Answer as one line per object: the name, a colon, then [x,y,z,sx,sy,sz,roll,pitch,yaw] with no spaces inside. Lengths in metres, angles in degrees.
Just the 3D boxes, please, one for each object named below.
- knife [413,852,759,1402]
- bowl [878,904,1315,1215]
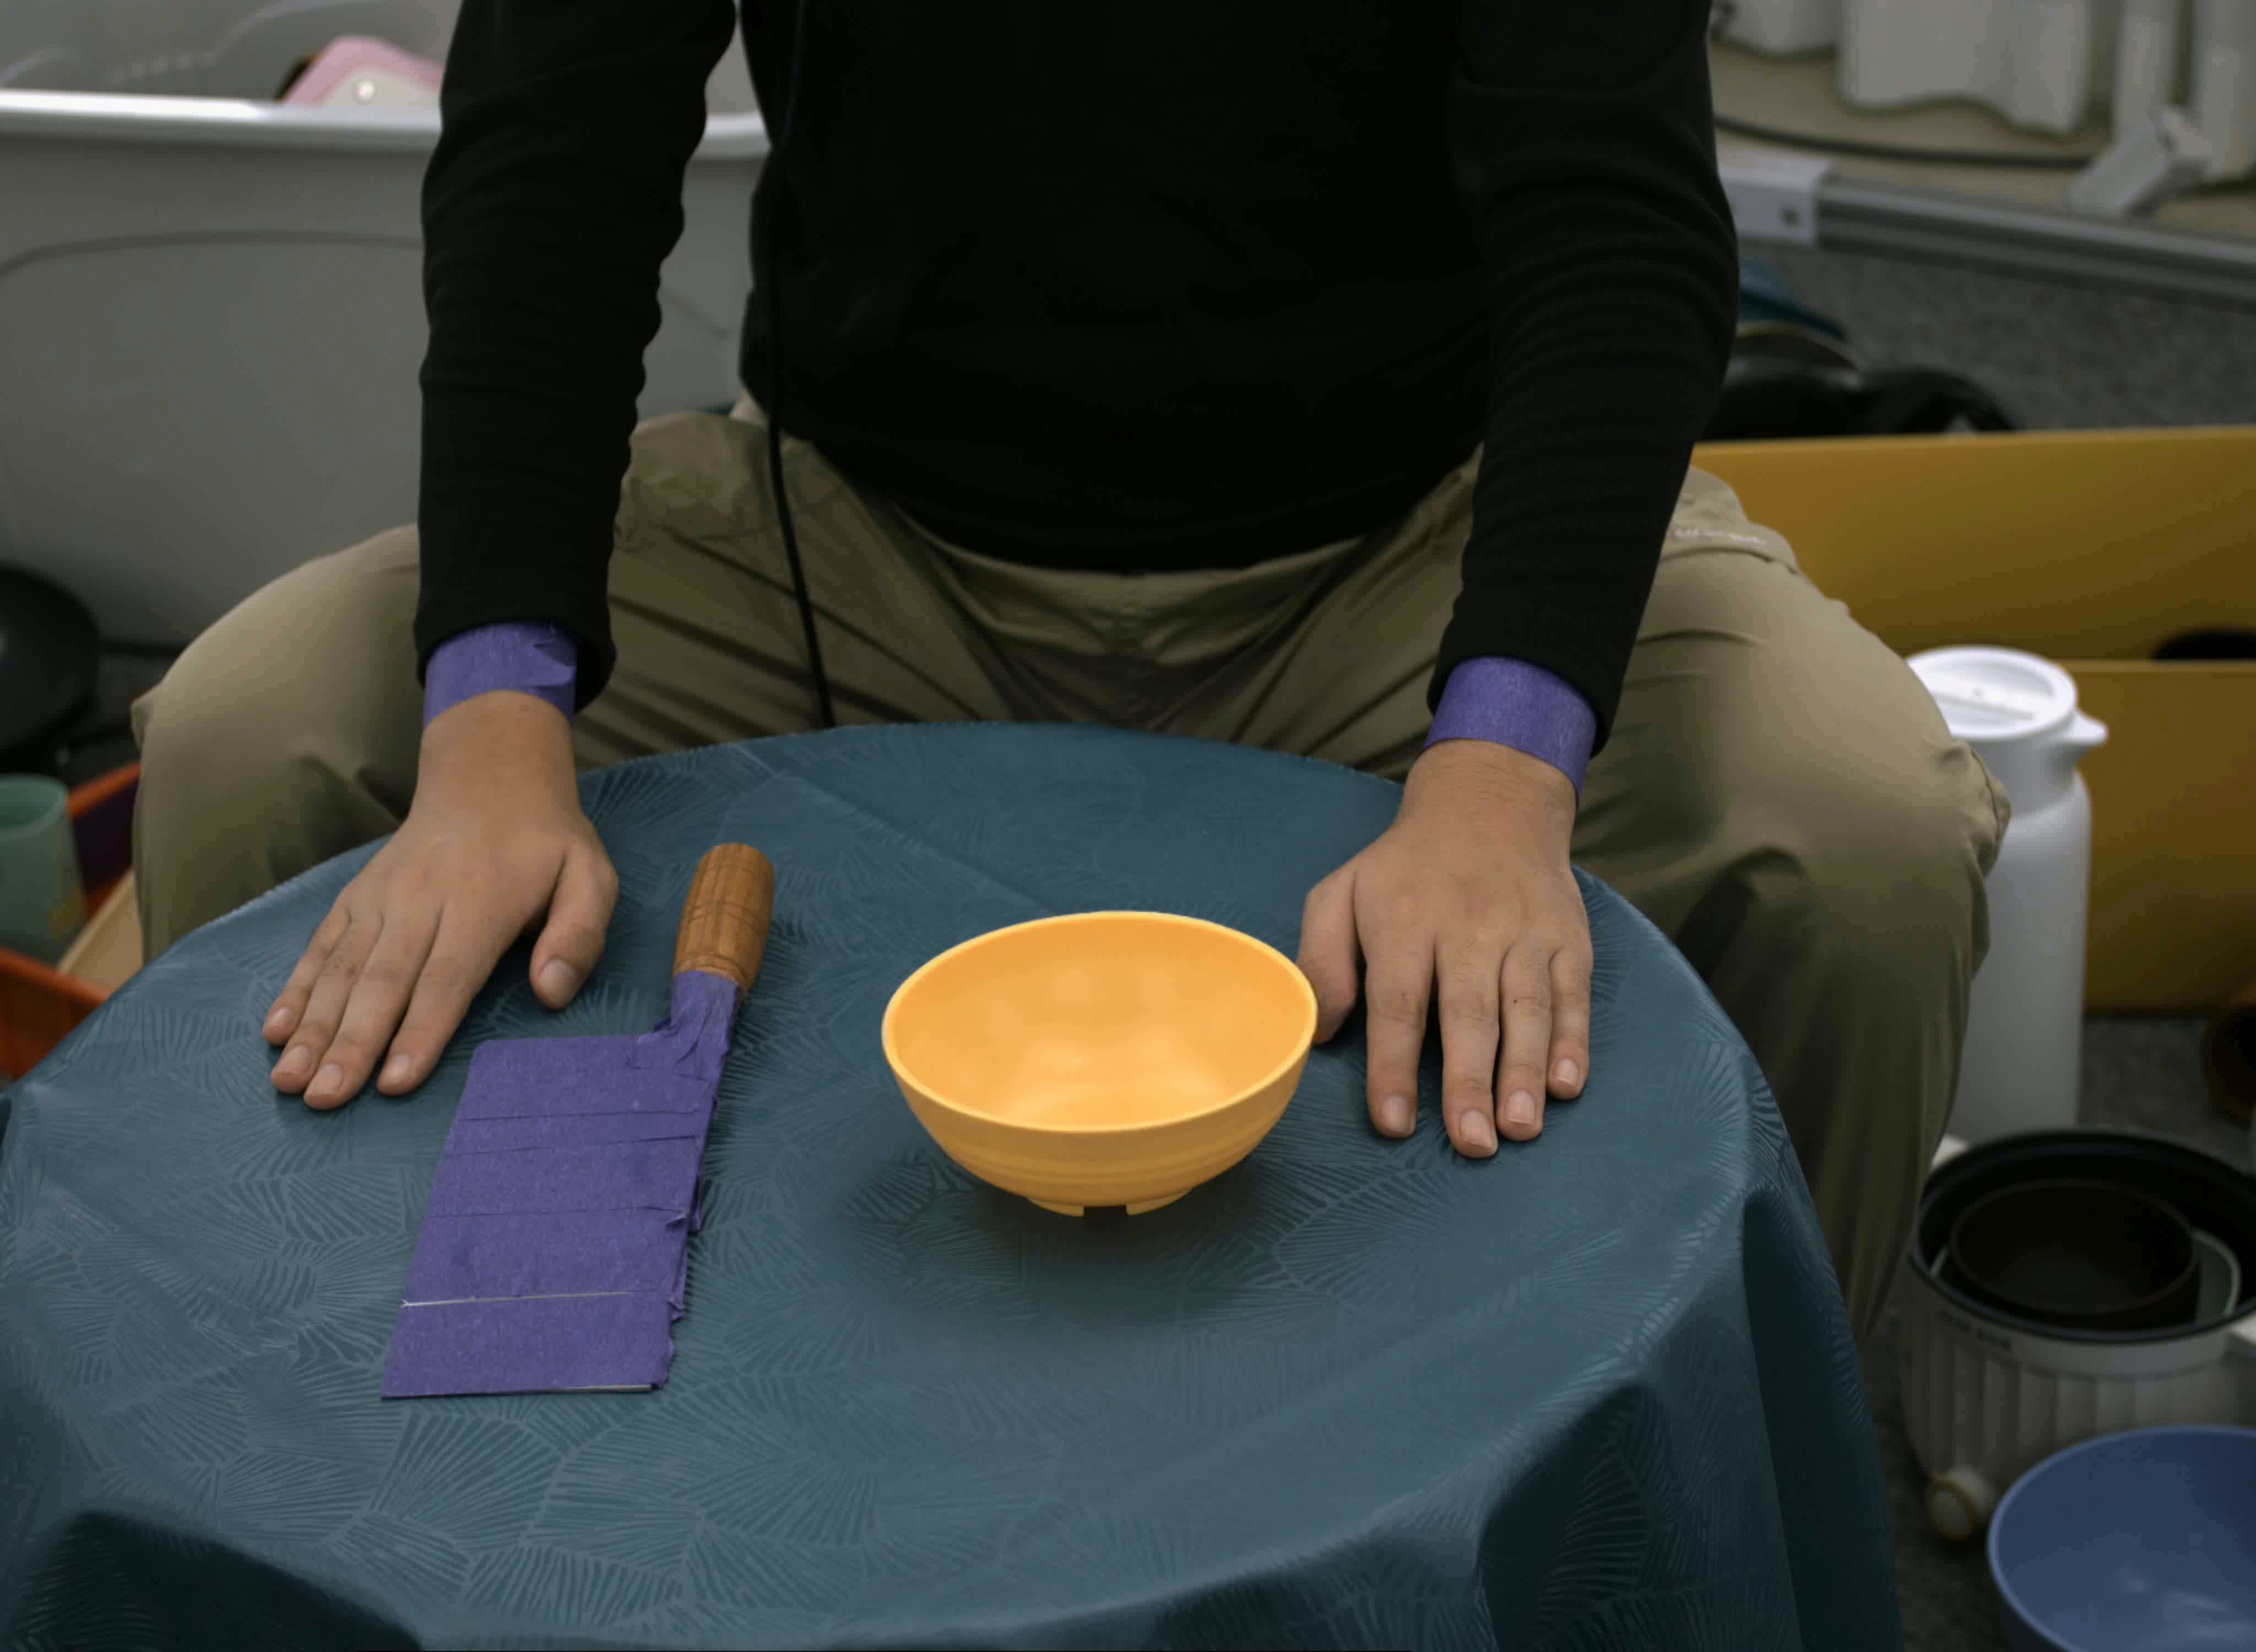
knife: [-0.182,0.097,1.895,0.103,0.032,0.320,-1,28,3]
bowl: [-0.010,0.087,1.862,0.144,0.059,0.147,-1,28,1]
